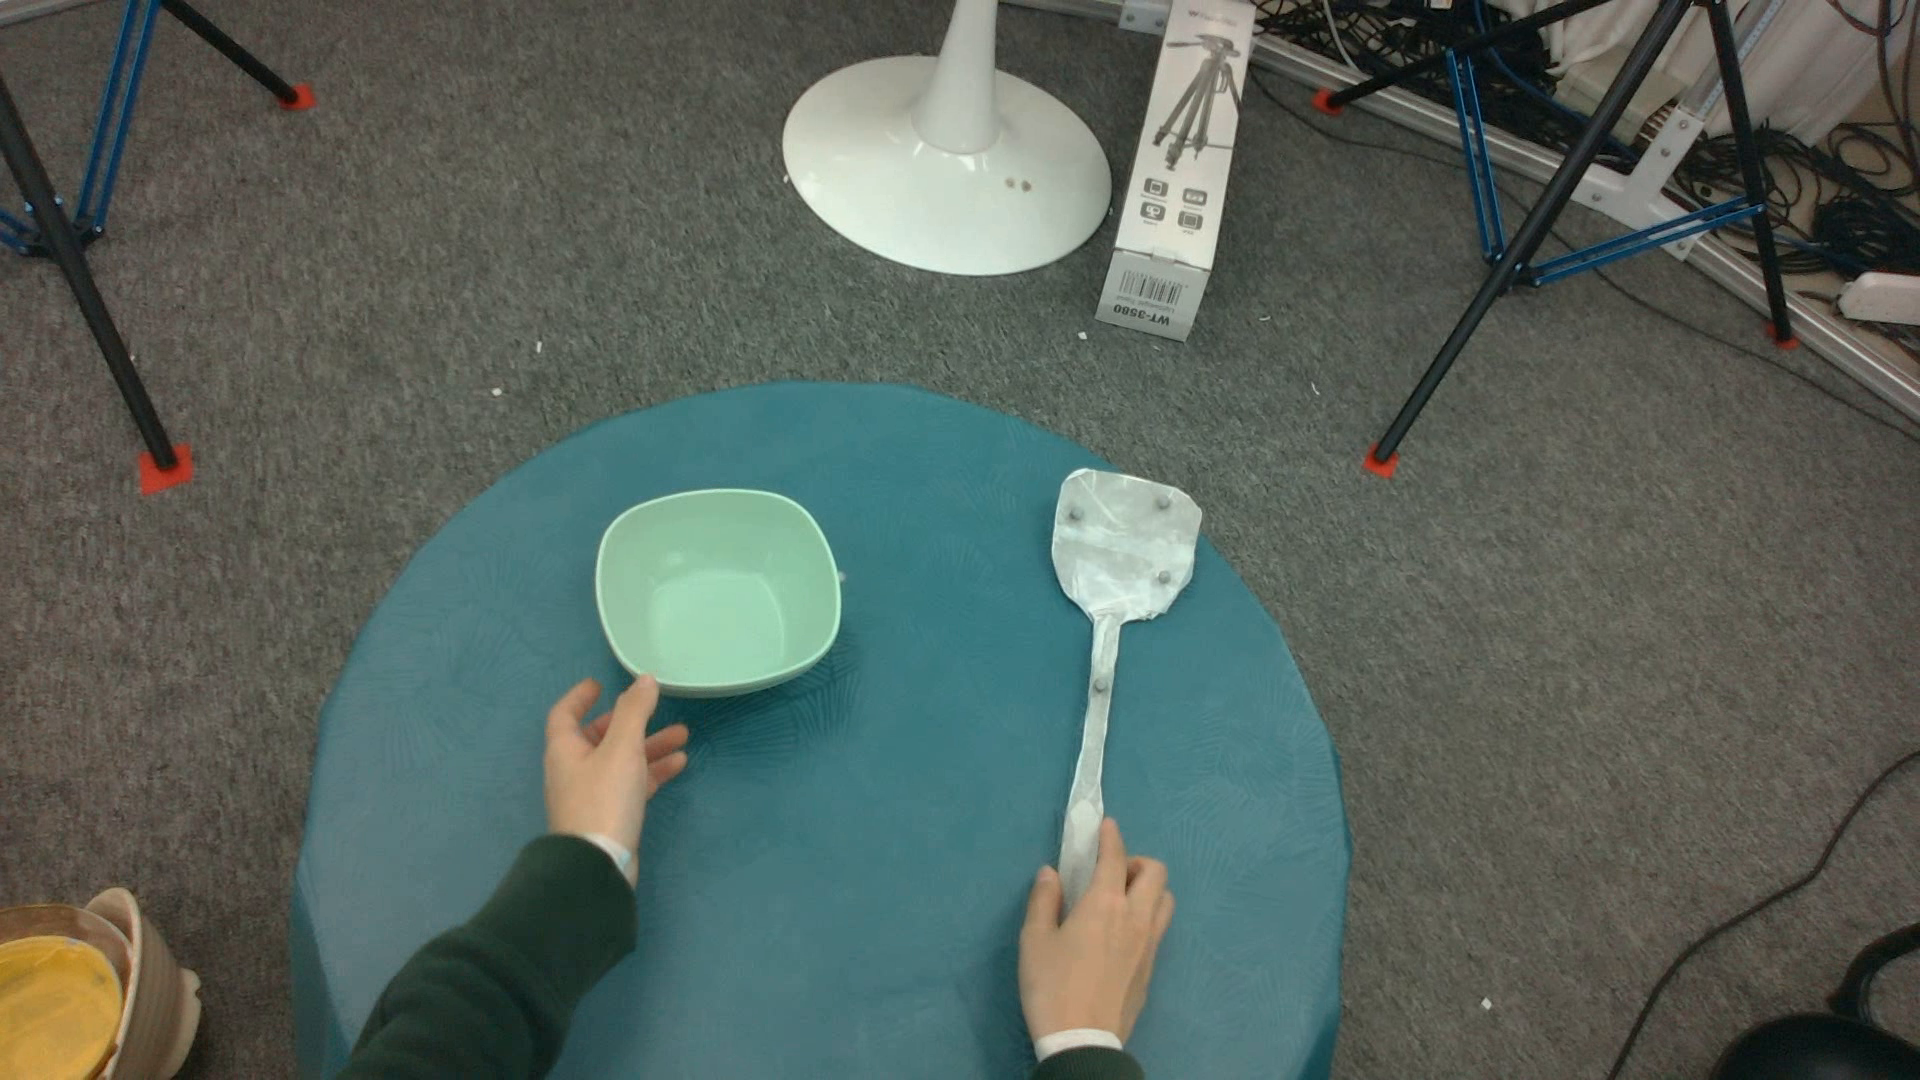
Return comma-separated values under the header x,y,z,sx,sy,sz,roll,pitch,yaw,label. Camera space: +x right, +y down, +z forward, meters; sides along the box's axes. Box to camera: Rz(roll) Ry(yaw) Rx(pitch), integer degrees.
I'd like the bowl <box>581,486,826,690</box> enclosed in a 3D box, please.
x,y,z,sx,sy,sz,roll,pitch,yaw,label
-0.153,0.038,0.820,0.151,0.058,0.152,7,50,-8,bowl

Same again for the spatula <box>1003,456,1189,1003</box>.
x,y,z,sx,sy,sz,roll,pitch,yaw,label
0.073,0.100,0.834,0.099,0.044,0.367,16,52,-3,spatula
